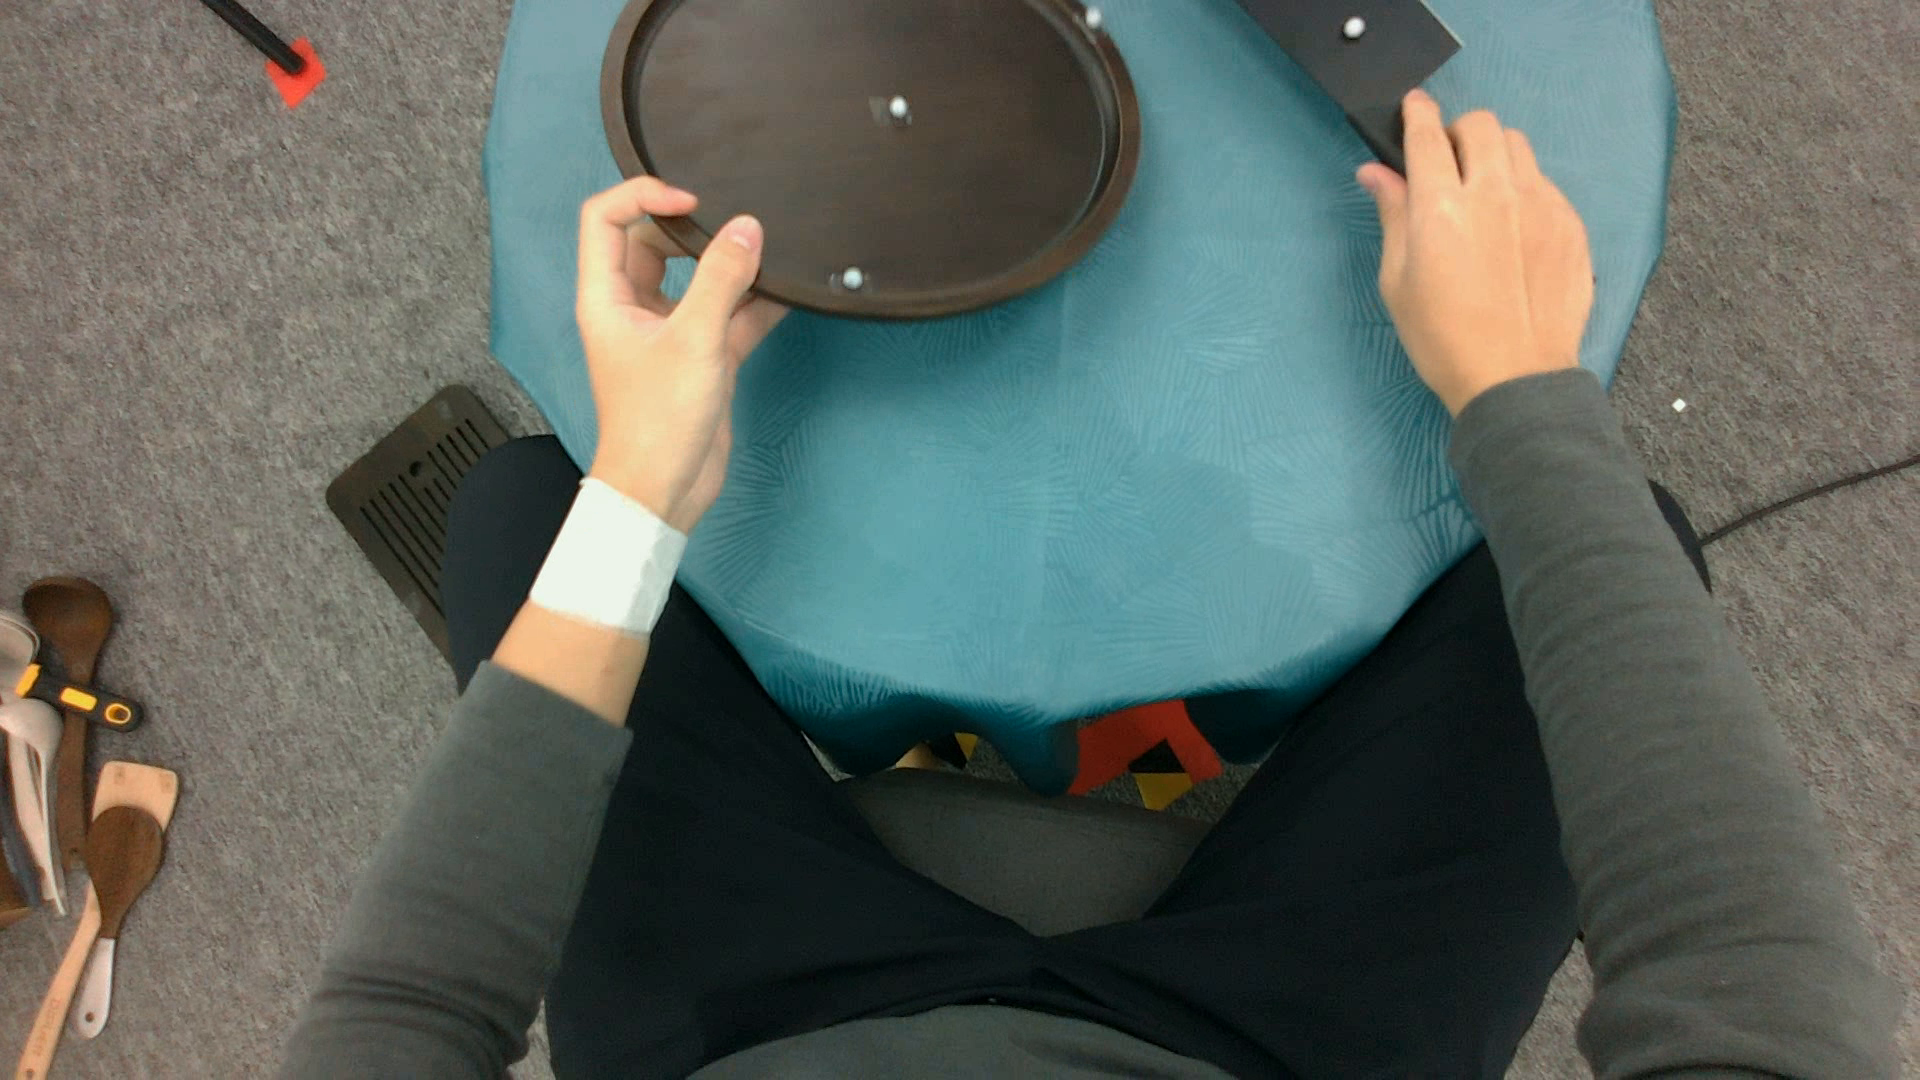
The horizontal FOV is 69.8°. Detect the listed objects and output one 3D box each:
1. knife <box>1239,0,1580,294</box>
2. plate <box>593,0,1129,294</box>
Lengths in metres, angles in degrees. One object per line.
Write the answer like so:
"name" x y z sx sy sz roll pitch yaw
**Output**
"knife" 0.189 -0.238 0.655 0.081 0.021 0.302 -35 82 -2
"plate" -0.046 -0.221 0.658 0.255 0.029 0.256 3 63 -5
